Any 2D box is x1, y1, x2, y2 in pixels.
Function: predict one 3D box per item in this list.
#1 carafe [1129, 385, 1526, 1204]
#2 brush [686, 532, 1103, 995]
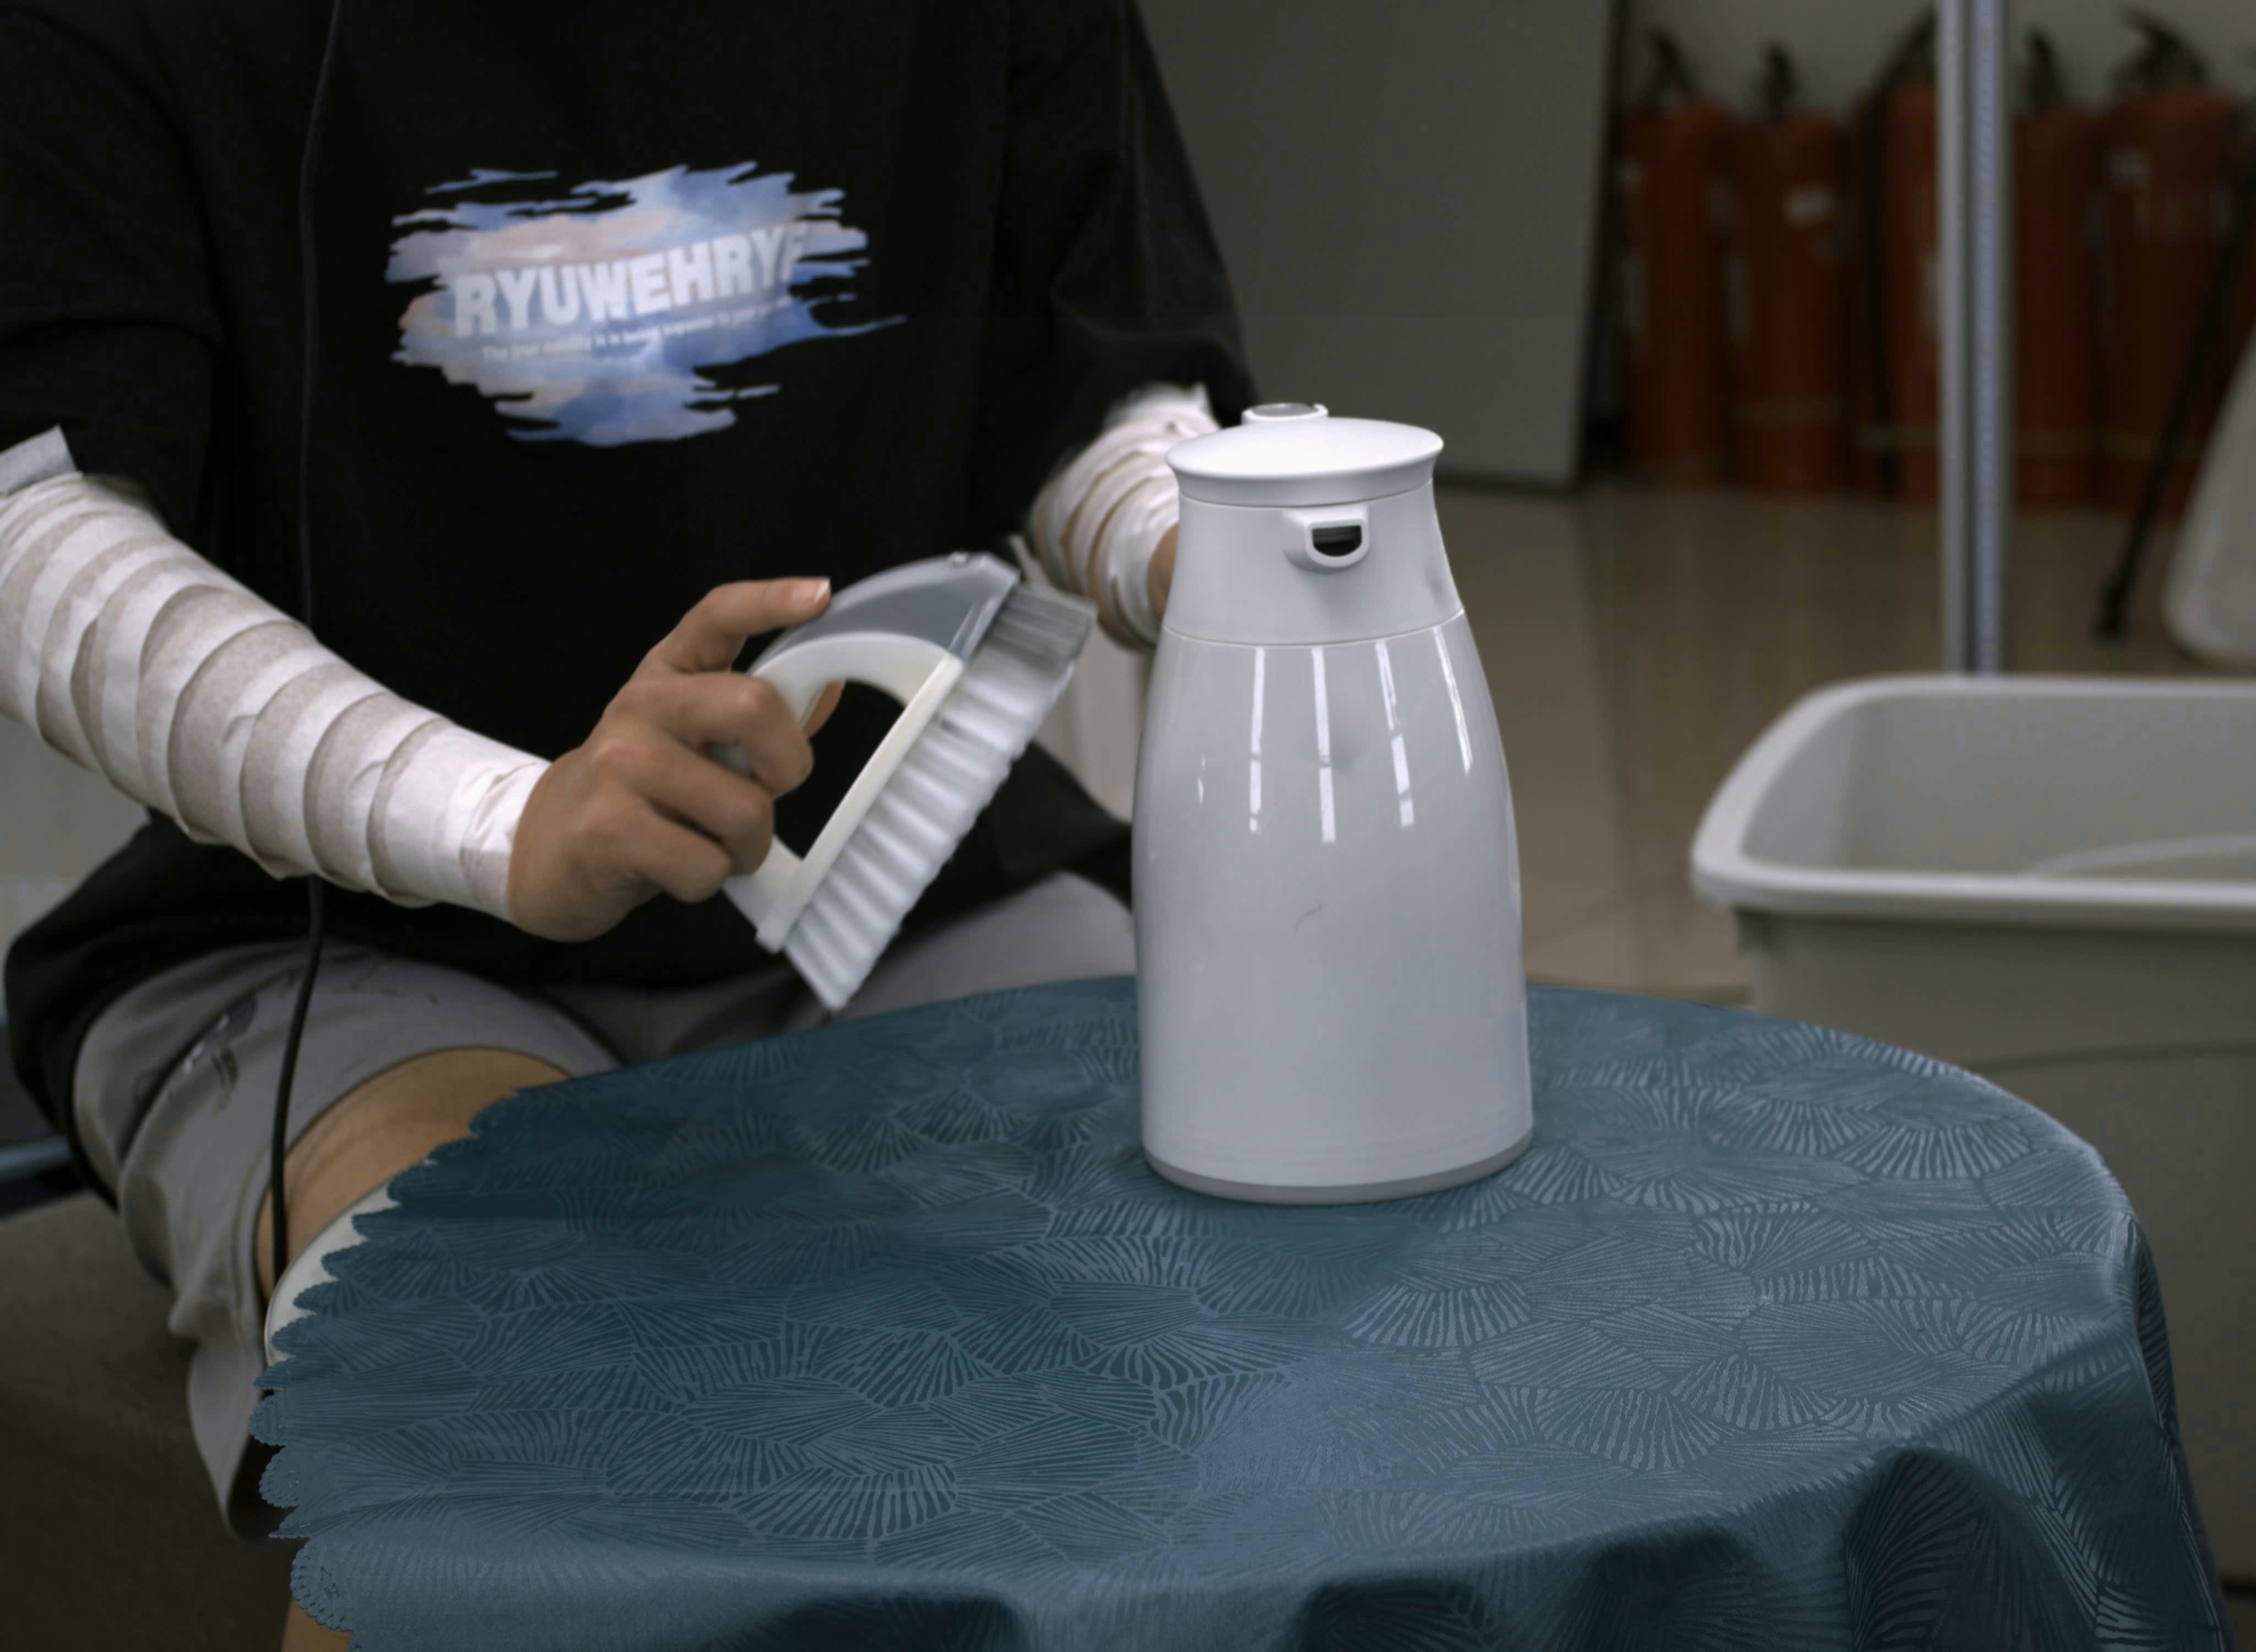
[{"bbox_3d":[0.059,-0.018,1.797,0.130,0.251,0.168,-5,13,-7],"label":"carafe"},{"bbox_3d":[-0.082,-0.036,1.751,0.093,0.177,0.061,34,34,-2],"label":"brush"}]
